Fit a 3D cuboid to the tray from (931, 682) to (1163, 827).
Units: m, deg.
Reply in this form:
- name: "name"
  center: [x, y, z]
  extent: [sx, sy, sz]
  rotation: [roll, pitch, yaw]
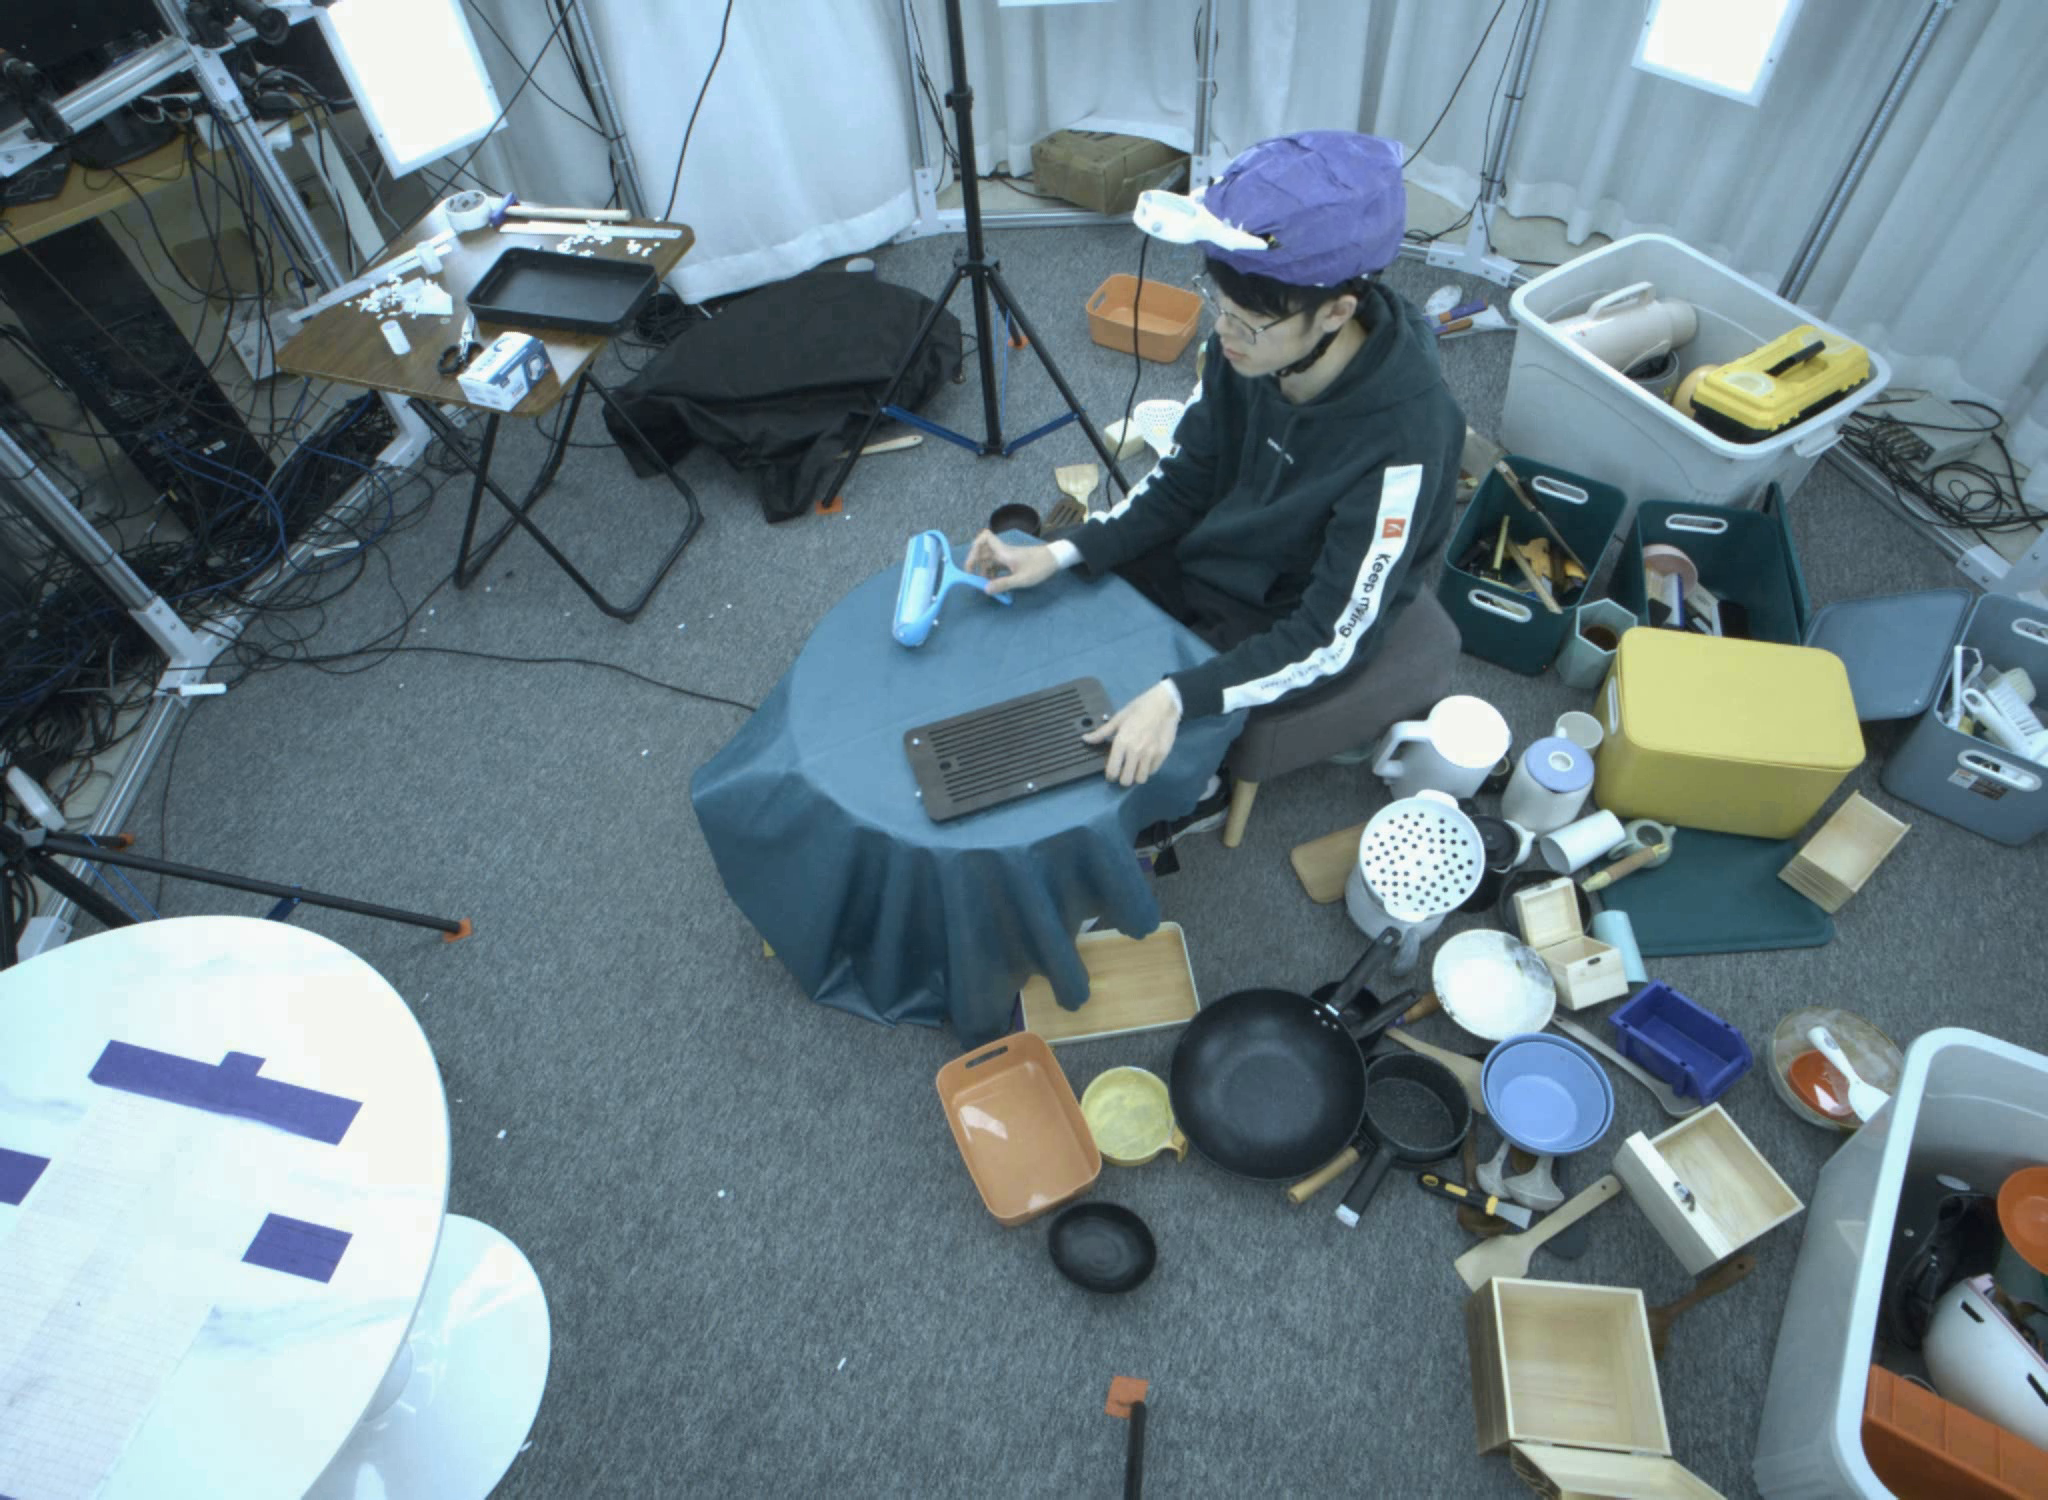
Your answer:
- name: "tray"
  center: [0.031, 0.005, 1.767]
  extent: [0.308, 0.019, 0.167]
  rotation: [-15, 55, -9]

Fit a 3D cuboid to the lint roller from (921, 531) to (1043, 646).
- name: "lint roller"
  center: [-0.063, -0.256, 1.931]
  extent: [0.180, 0.069, 0.227]
  rotation: [0, 53, 5]
